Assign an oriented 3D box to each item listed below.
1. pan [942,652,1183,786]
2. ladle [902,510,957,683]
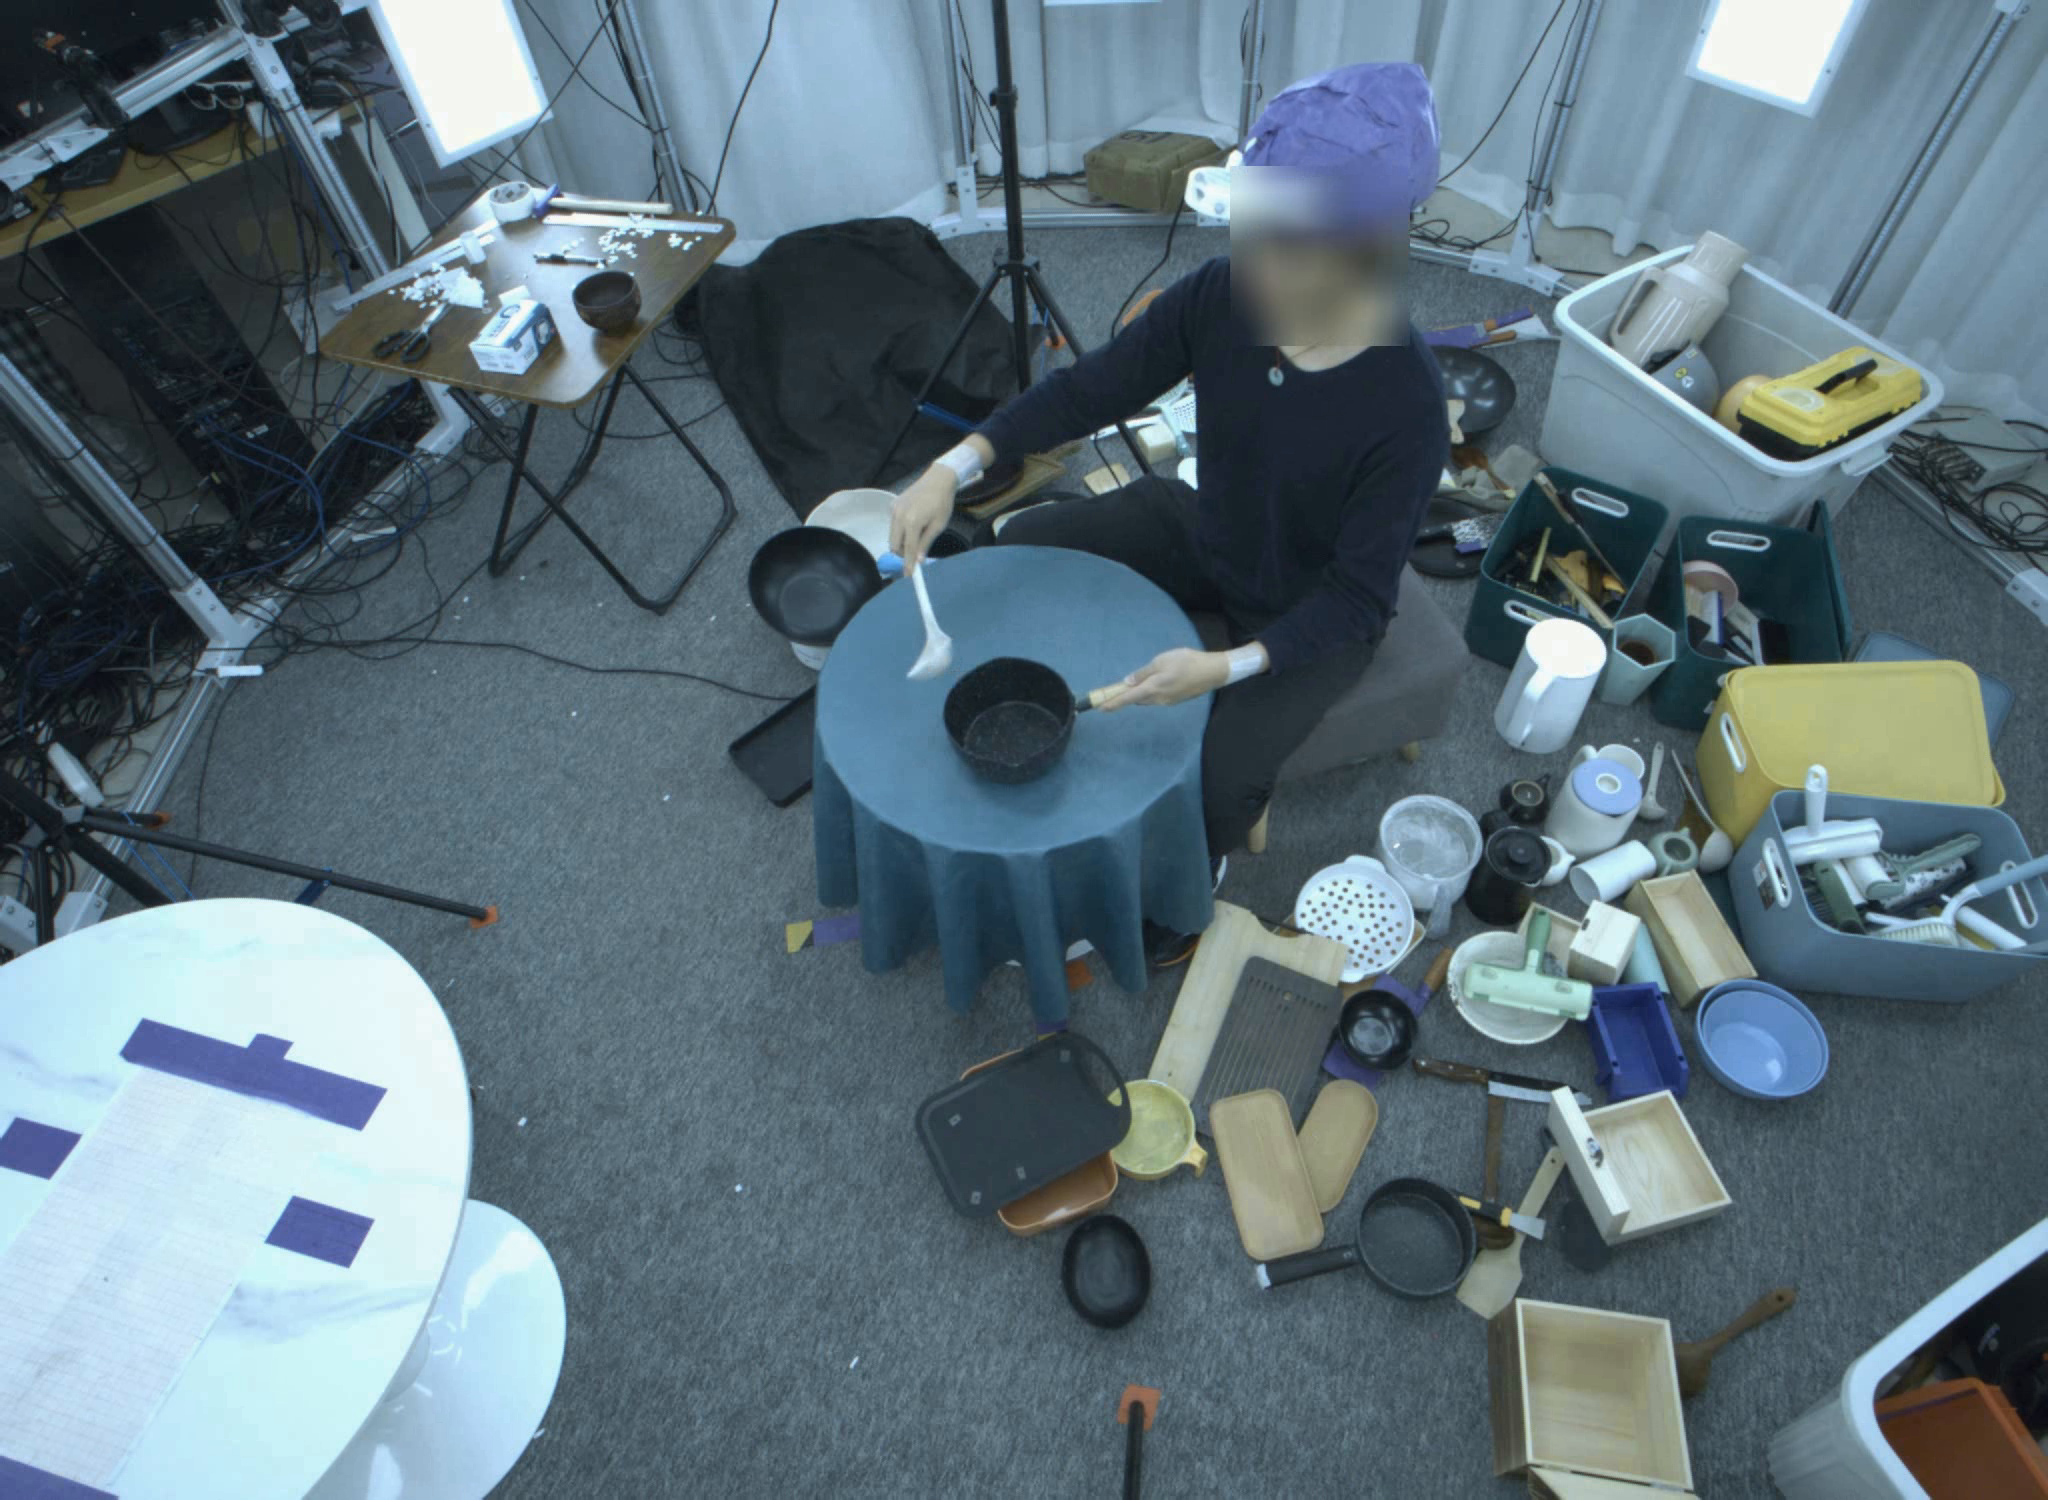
[{"bbox_3d":[0.058,-0.056,1.750,0.343,0.109,0.204,-11,54,-1],"label":"pan"},{"bbox_3d":[-0.161,-0.225,1.749,0.071,0.088,0.272,-8,73,-39],"label":"ladle"}]
